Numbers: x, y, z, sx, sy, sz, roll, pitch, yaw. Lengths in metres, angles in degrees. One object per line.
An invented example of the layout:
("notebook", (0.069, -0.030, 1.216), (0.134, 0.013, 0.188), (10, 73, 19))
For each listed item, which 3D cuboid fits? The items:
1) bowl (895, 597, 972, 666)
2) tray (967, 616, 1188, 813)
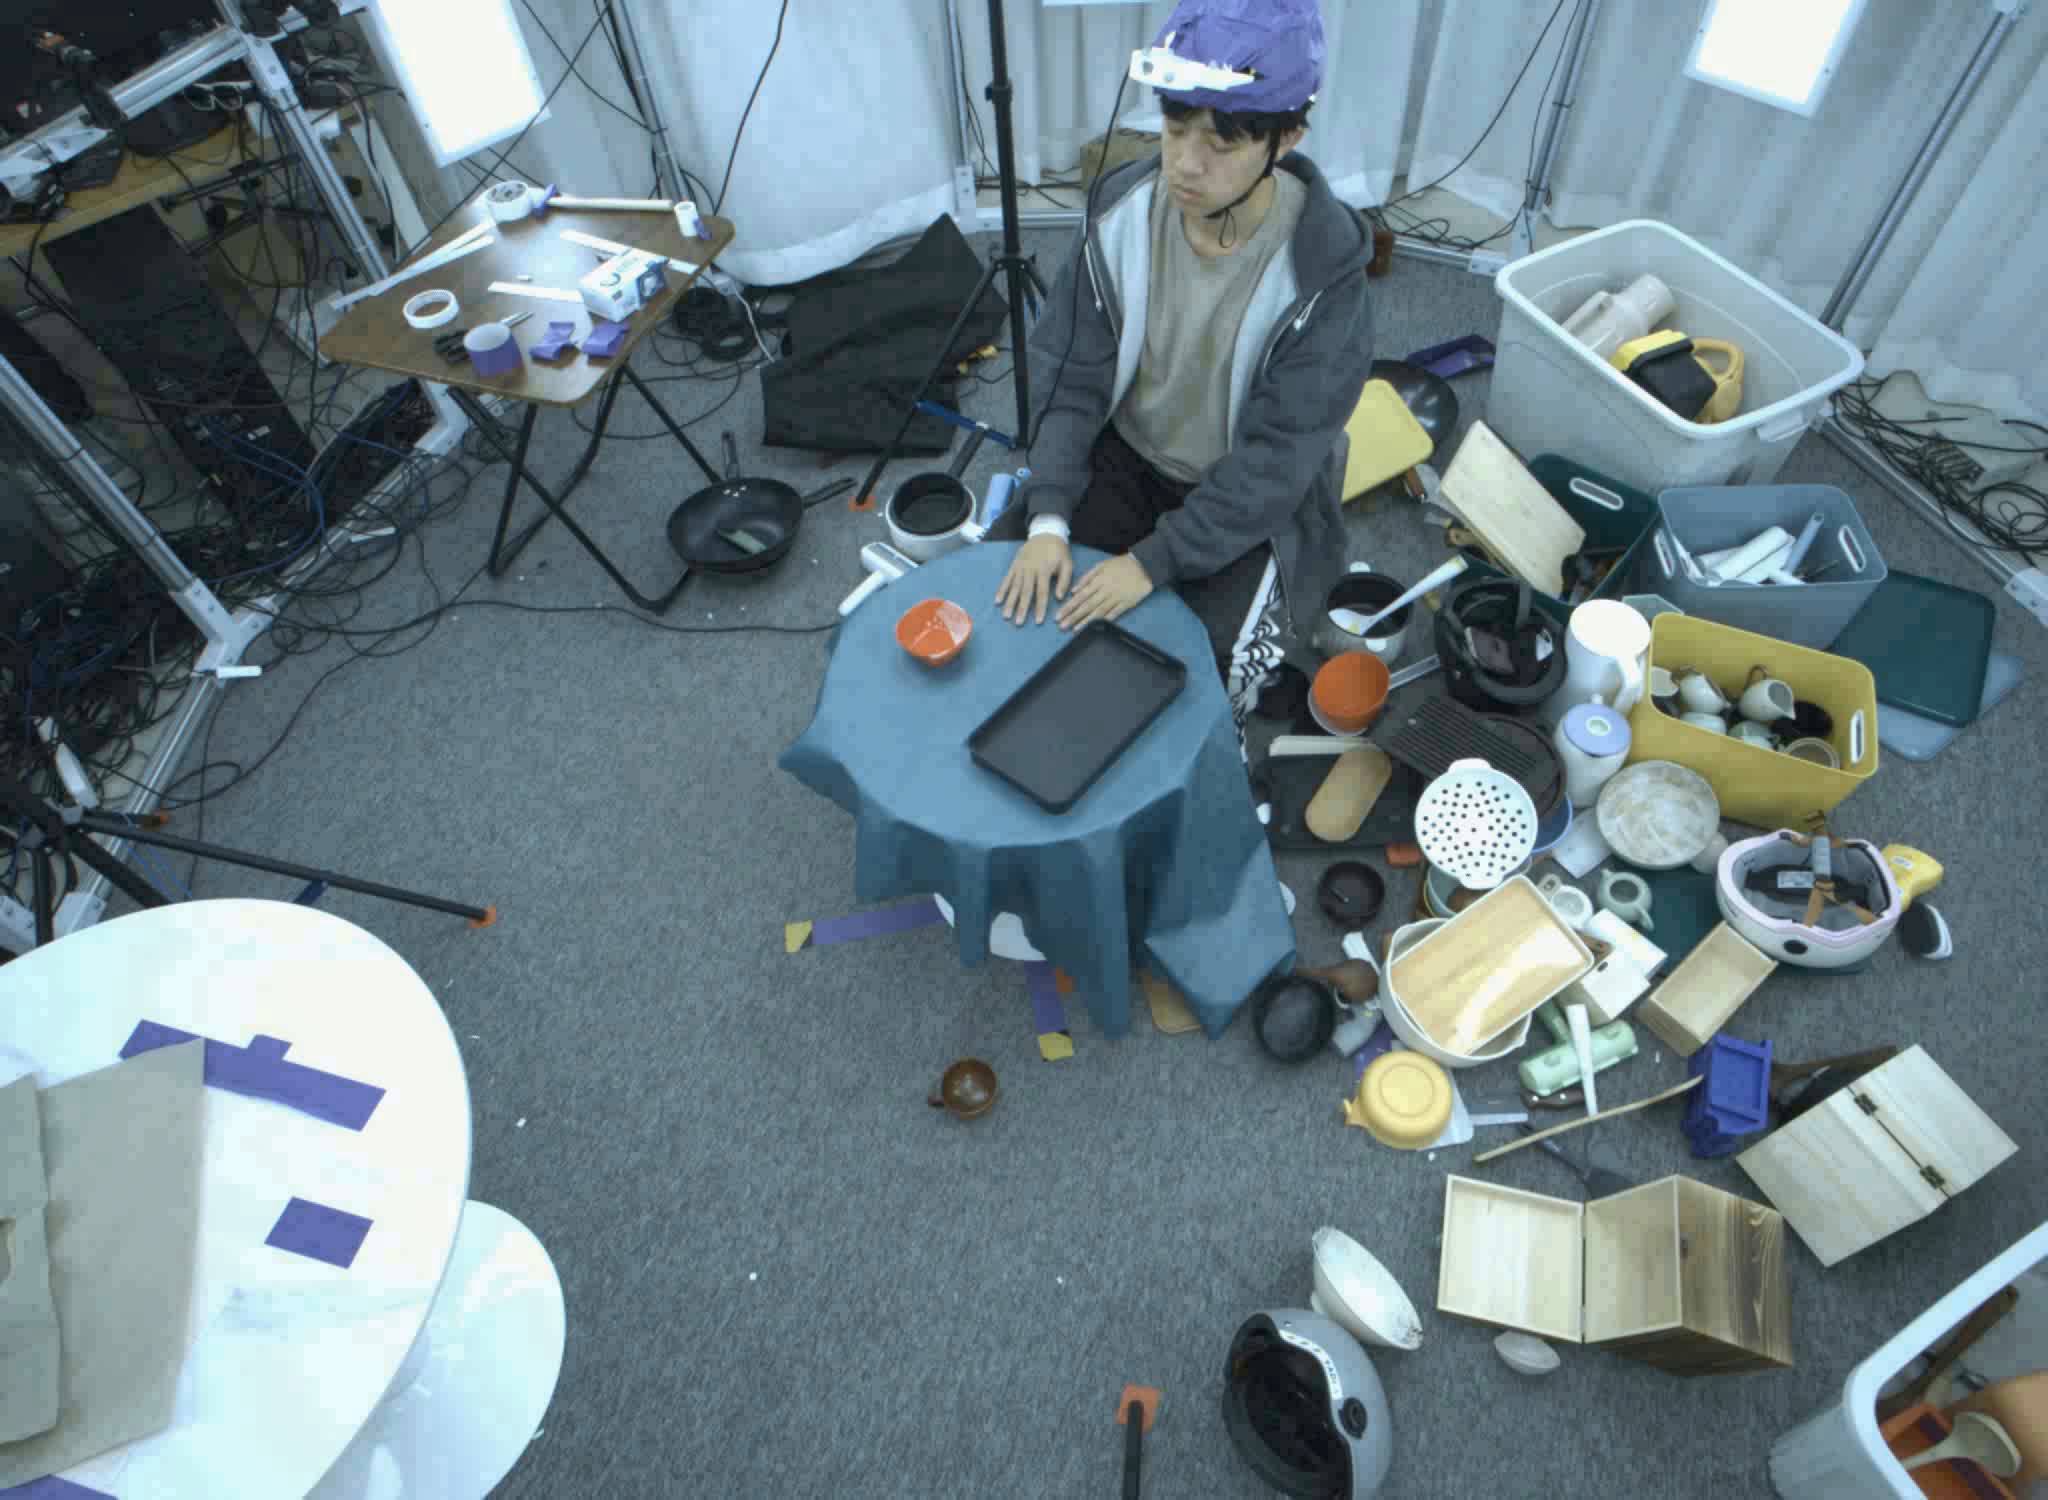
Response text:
("bowl", (-0.137, -0.175, 1.885), (0.119, 0.052, 0.118), (-1, 55, 3))
("tray", (0.081, -0.058, 1.805), (0.181, 0.037, 0.320), (33, 62, 23))
